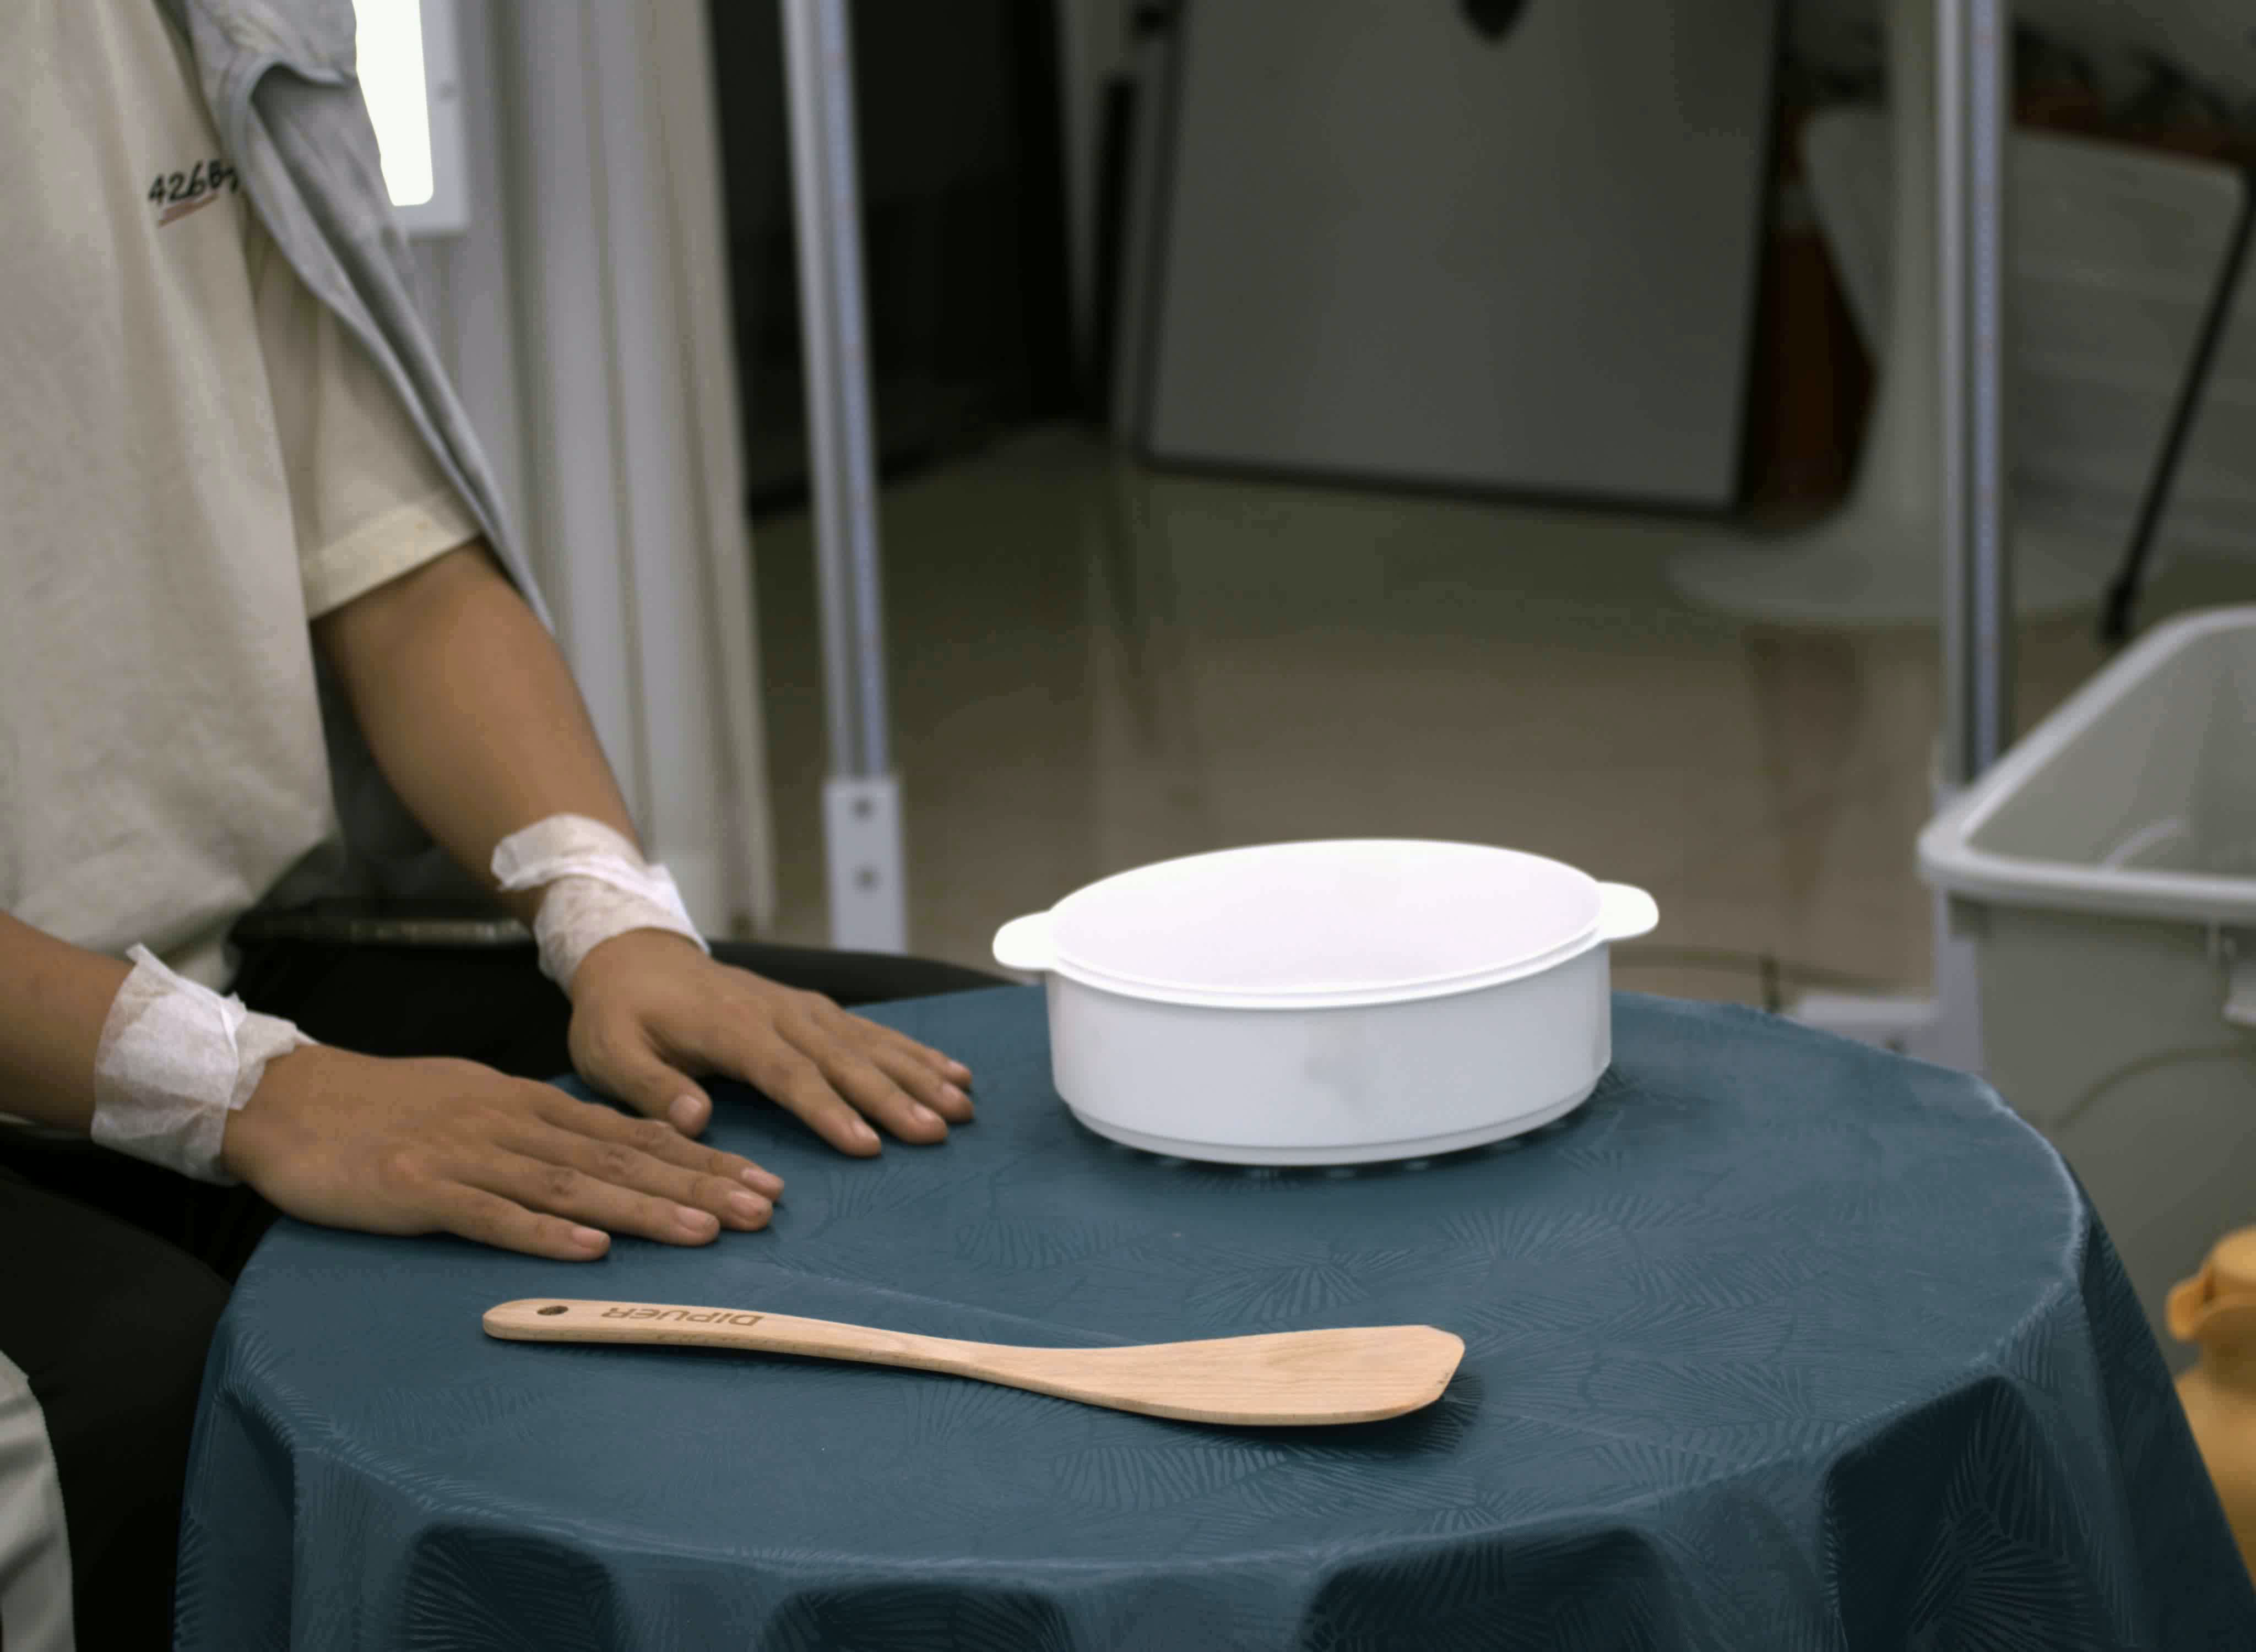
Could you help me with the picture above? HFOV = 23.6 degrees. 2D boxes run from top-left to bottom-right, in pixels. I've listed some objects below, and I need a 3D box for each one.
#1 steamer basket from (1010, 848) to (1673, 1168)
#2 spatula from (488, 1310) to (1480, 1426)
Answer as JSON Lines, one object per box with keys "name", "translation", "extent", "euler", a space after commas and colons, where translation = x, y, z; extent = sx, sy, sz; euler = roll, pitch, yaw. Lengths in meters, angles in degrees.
{"name": "steamer basket", "translation": [0.075, 0.062, 1.852], "extent": [0.228, 0.070, 0.202], "euler": [-4, 13, 4]}
{"name": "spatula", "translation": [-0.047, 0.156, 1.611], "extent": [0.328, 0.017, 0.079], "euler": [2, 14, 24]}
